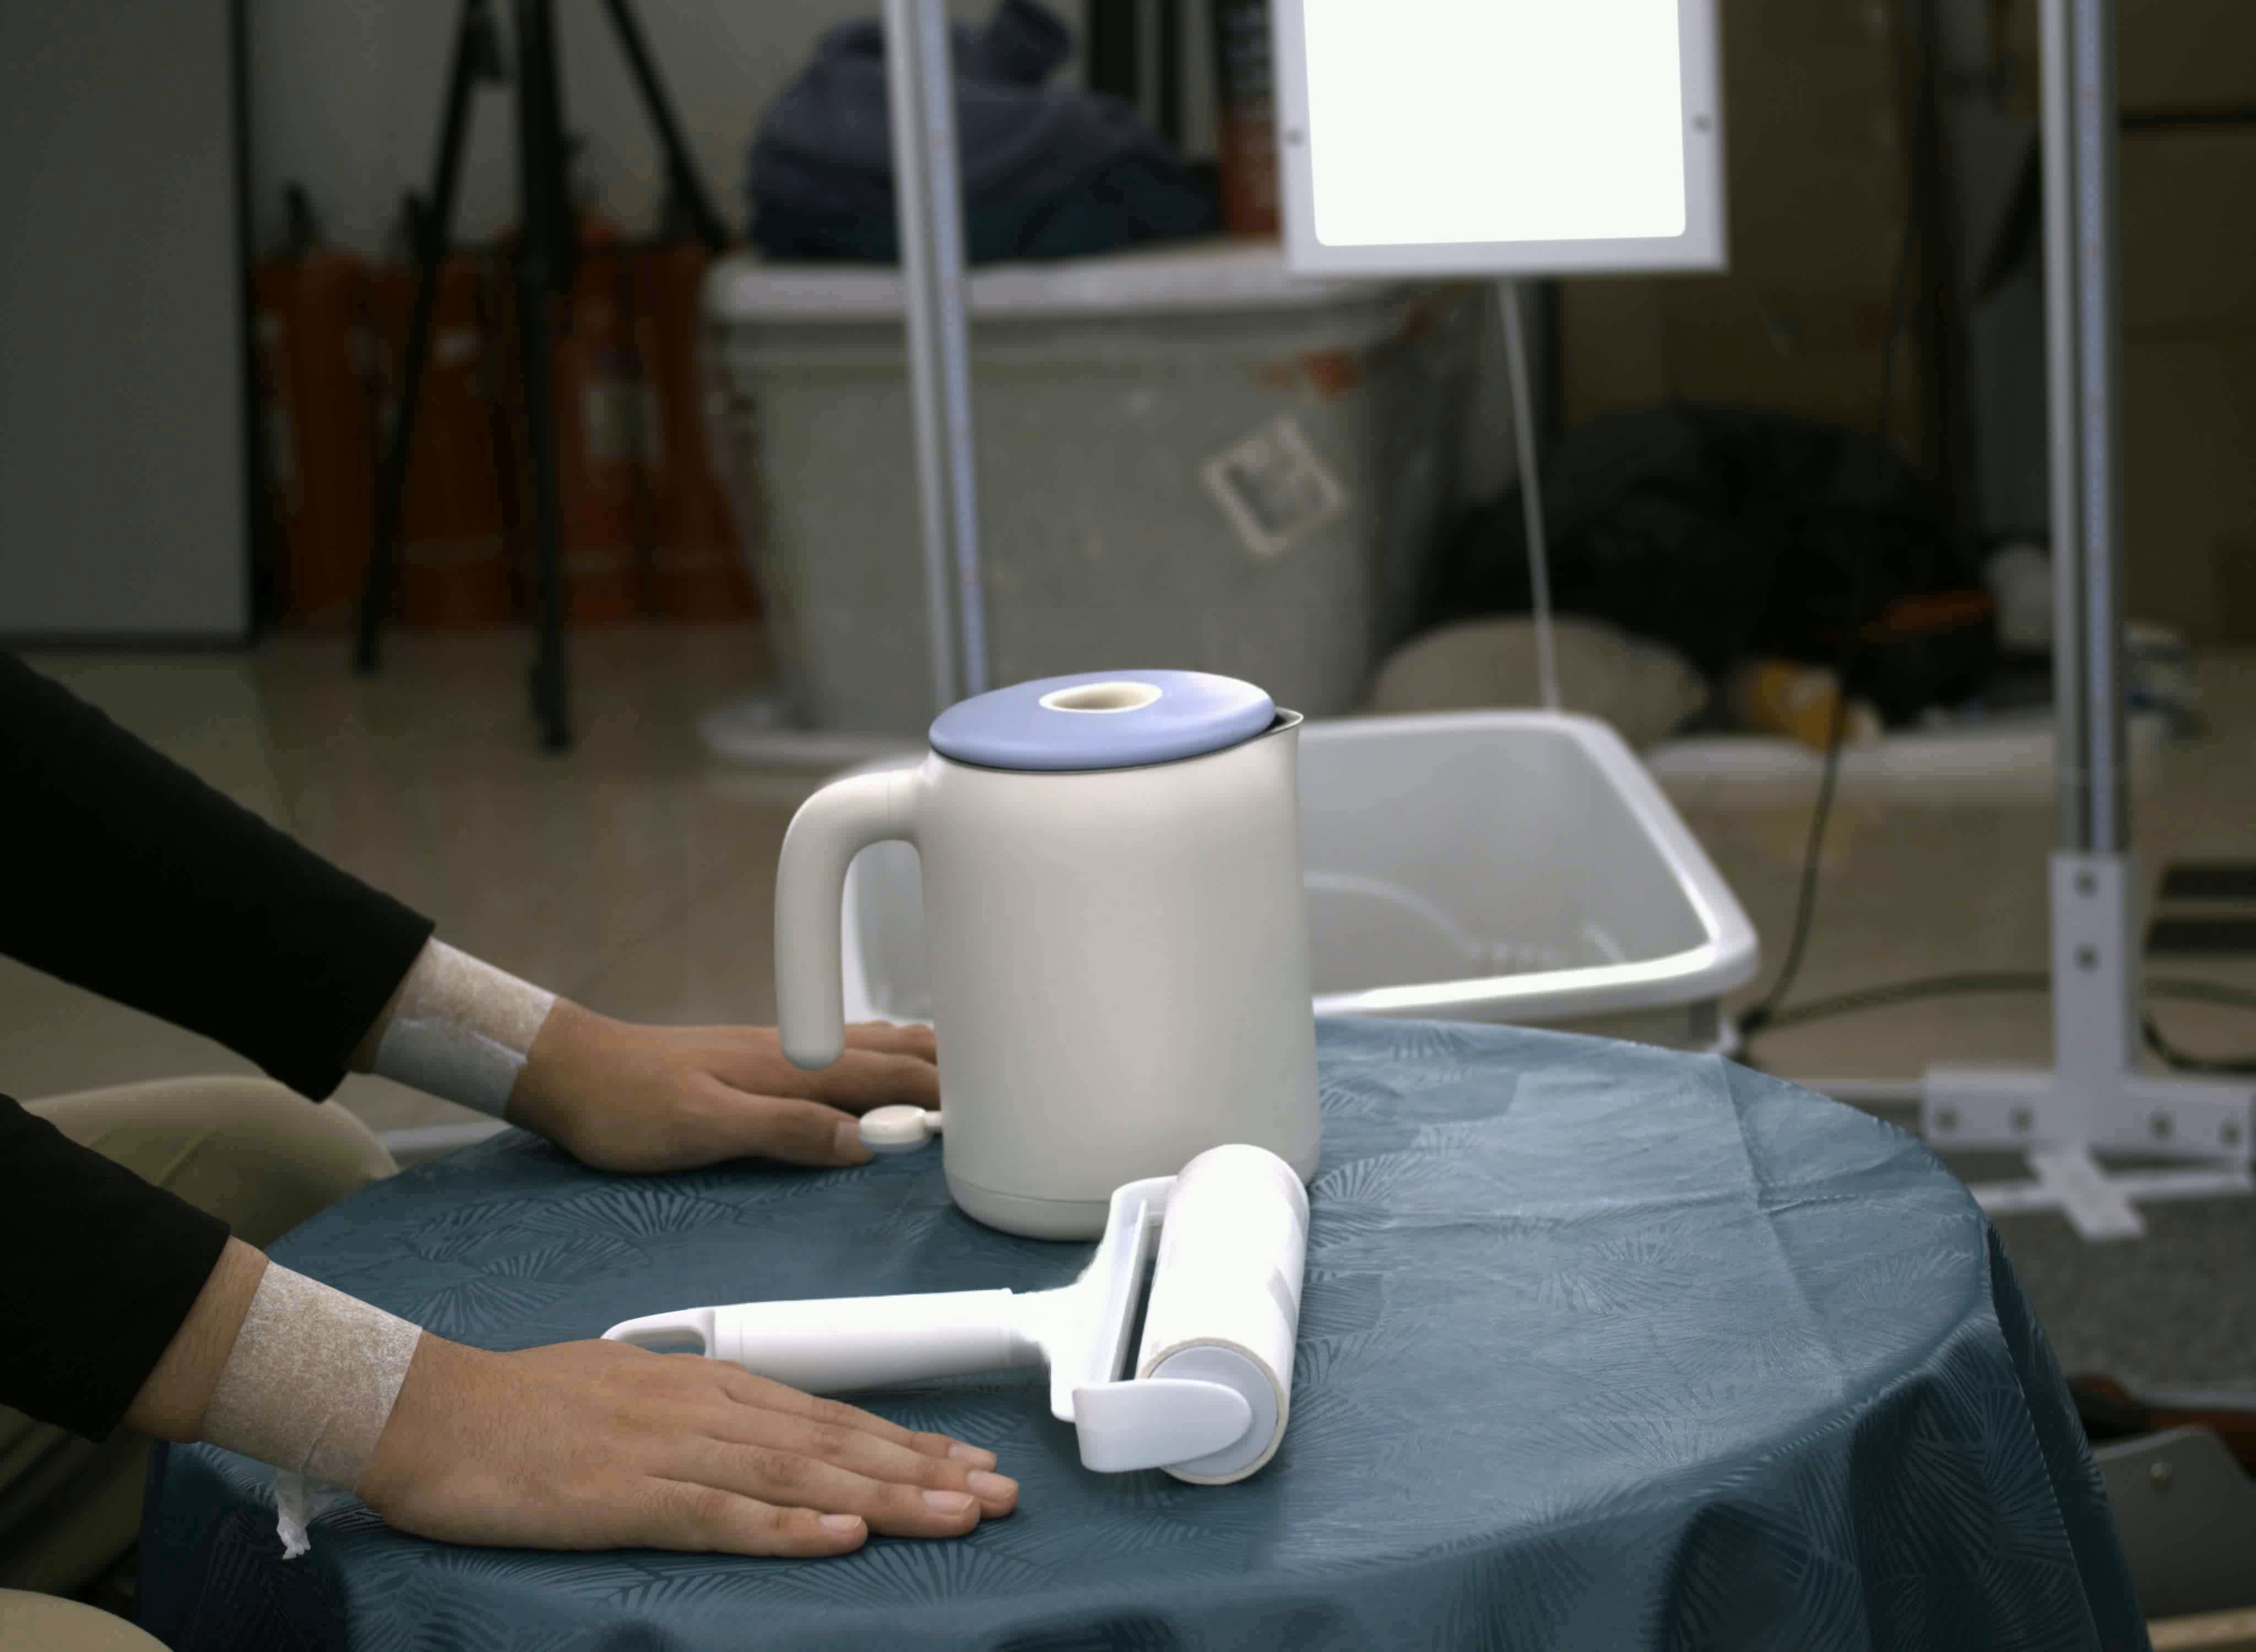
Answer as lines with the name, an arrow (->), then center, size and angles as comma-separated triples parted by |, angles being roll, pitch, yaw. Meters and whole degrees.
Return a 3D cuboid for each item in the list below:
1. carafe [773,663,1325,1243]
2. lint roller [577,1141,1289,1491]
carafe -> -0.027, 0.045, 1.881 | 0.191, 0.183, 0.131 | -6, 13, 5
lint roller -> -0.061, 0.156, 1.710 | 0.226, 0.048, 0.201 | -5, 15, 6
